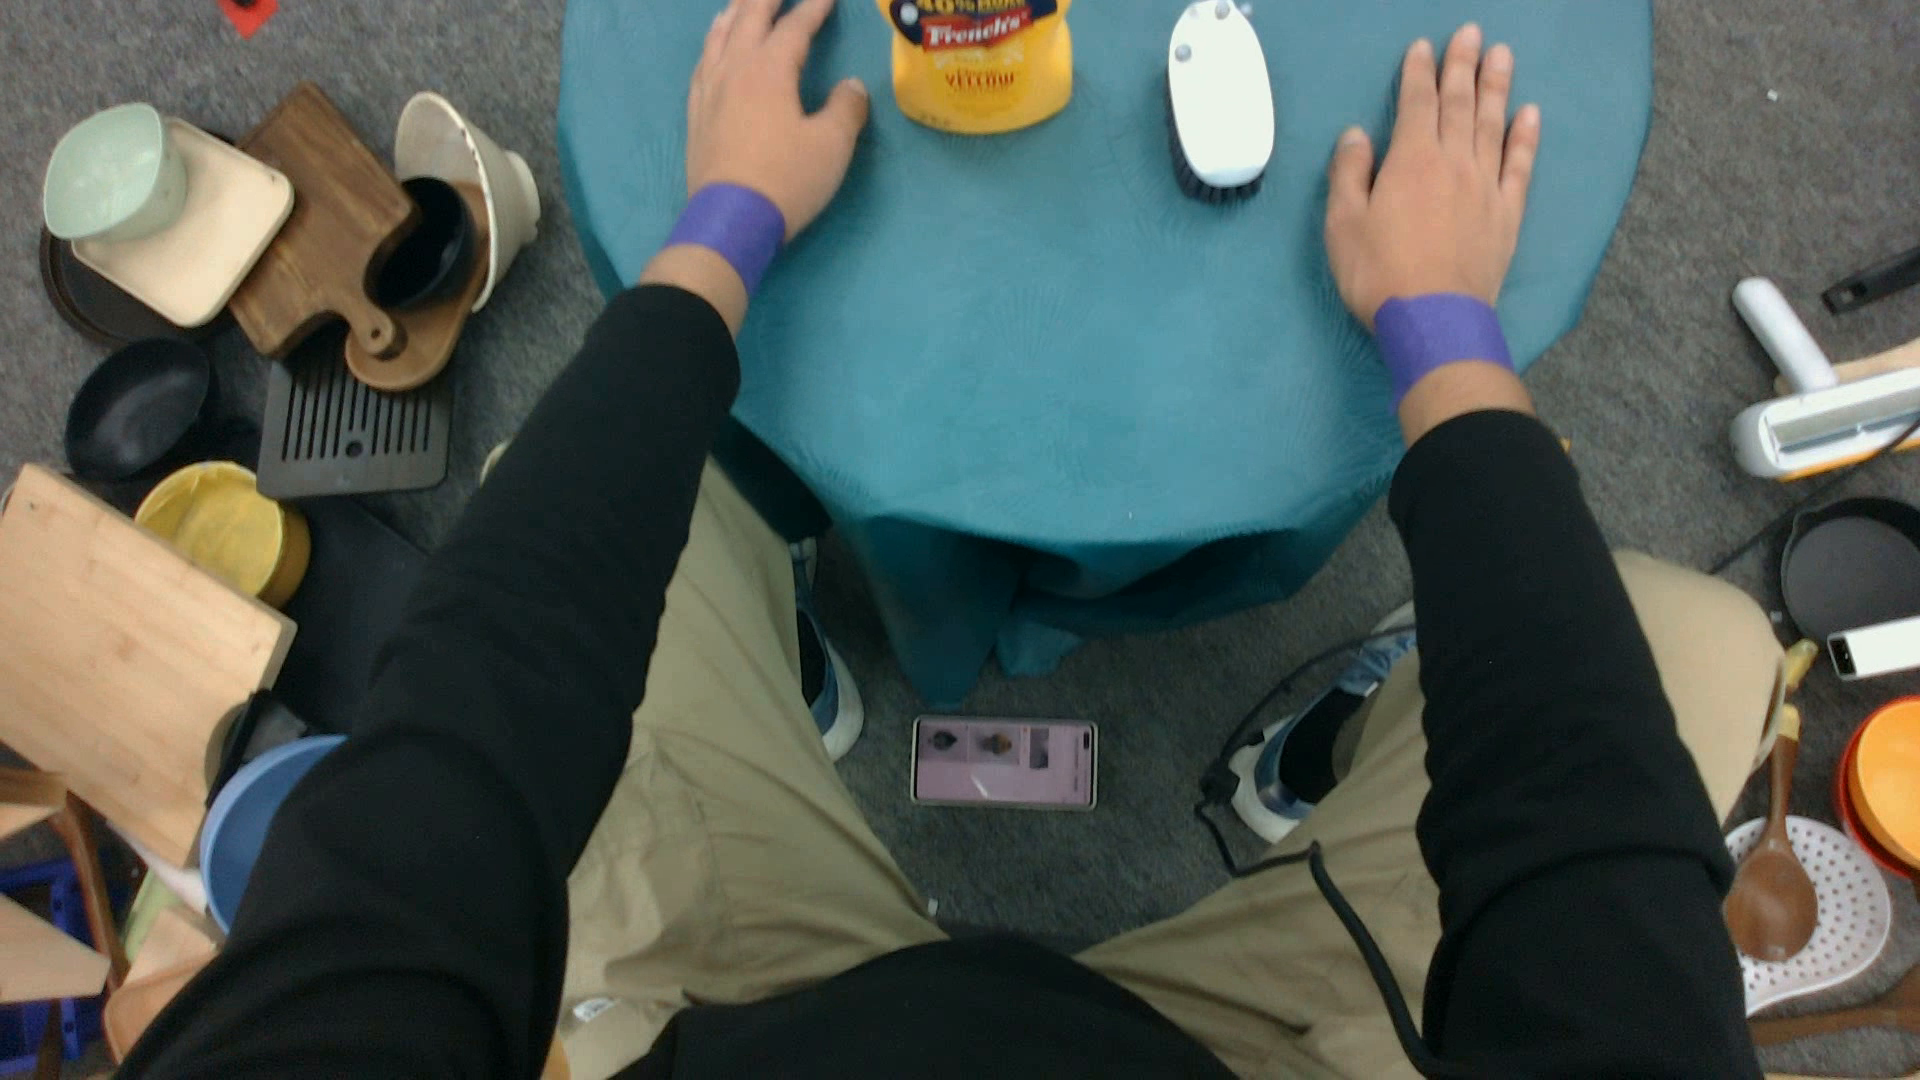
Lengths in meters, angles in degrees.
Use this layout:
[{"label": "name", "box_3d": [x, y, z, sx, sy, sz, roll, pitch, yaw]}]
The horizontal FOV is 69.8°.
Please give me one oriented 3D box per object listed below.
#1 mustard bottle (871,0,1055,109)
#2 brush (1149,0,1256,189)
[{"label": "mustard bottle", "box_3d": [0.001, -0.273, 0.673, 0.098, 0.172, 0.059, -4, 83, 1]}, {"label": "brush", "box_3d": [0.126, -0.241, 0.709, 0.050, 0.072, 0.099, -6, 79, 3]}]
